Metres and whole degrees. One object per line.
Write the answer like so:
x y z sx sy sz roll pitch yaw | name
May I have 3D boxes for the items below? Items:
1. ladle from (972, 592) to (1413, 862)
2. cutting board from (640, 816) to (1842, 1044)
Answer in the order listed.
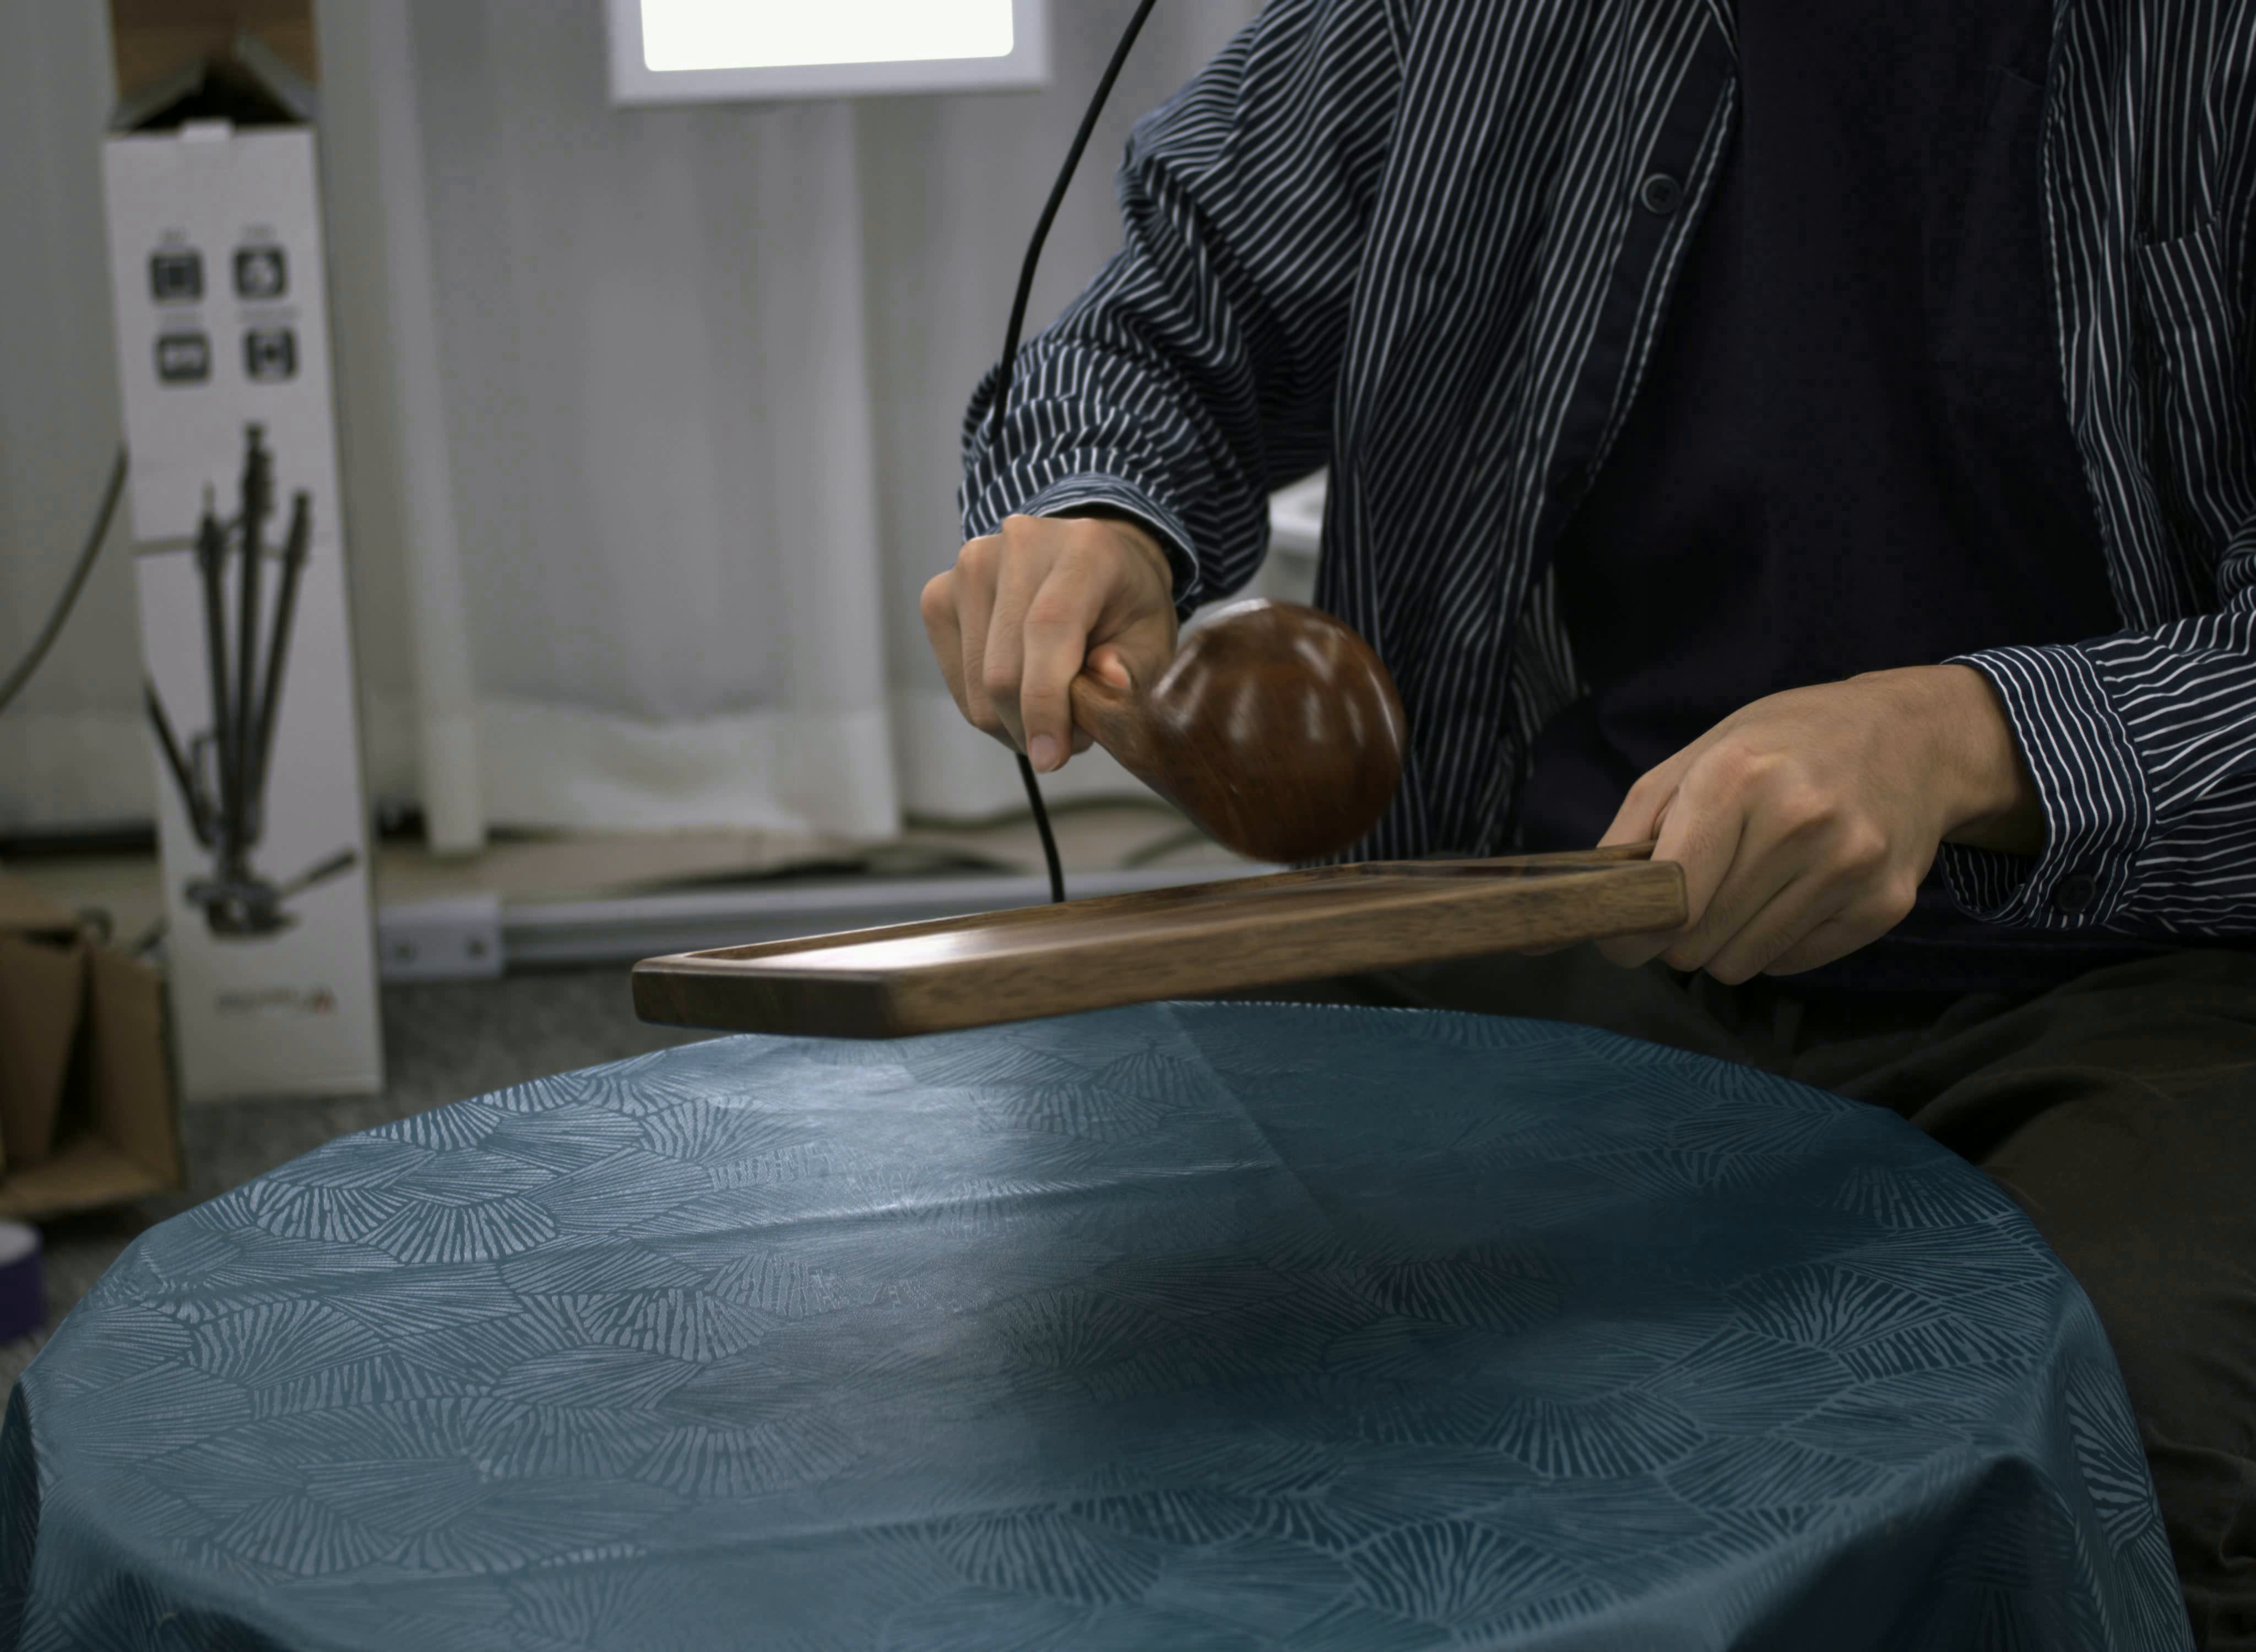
0.018 -0.041 1.754 0.076 0.082 0.275 -1 6 -15 | ladle
0.054 0.028 1.574 0.350 0.023 0.201 -7 3 -24 | cutting board
